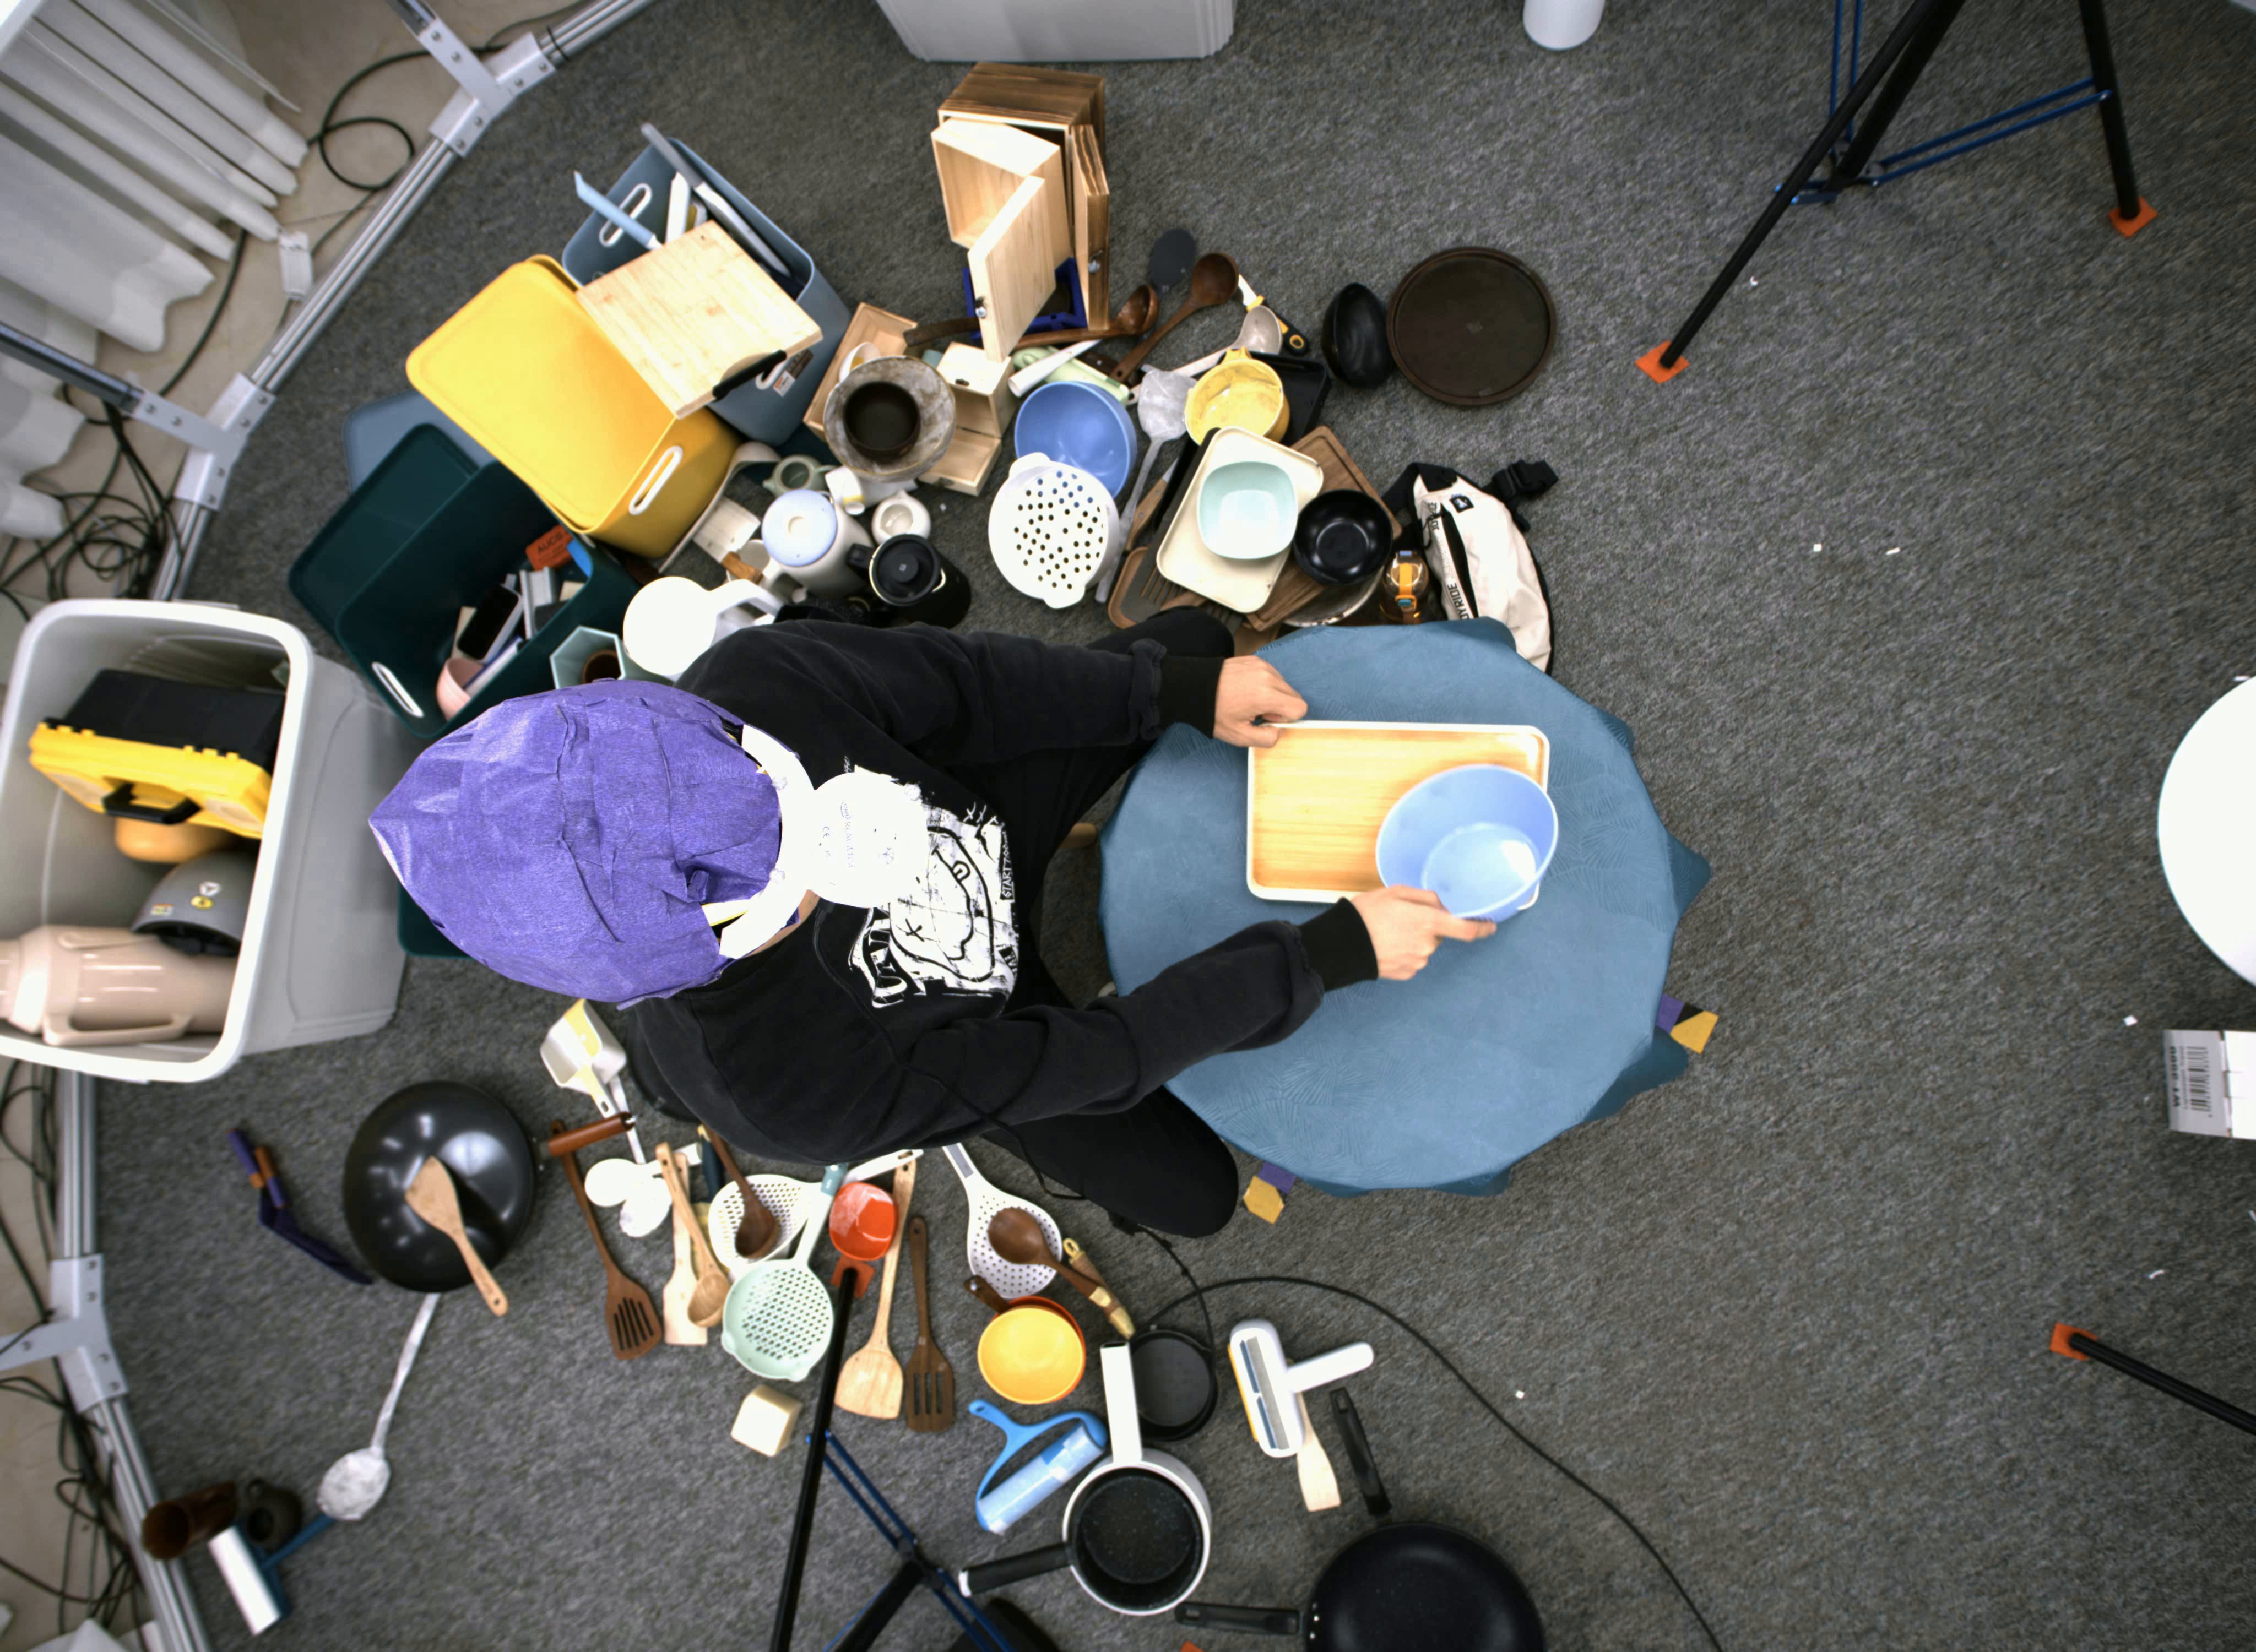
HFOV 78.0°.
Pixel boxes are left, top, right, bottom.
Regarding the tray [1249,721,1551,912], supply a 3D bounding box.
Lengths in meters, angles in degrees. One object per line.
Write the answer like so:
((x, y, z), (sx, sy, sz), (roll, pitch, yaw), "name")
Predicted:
((0.276, -0.012, 1.422), (0.301, 0.027, 0.194), (2, 108, 10), "tray")

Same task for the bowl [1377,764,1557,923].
((0.336, 0.027, 1.339), (0.178, 0.071, 0.171), (-18, 48, 20), "bowl")
